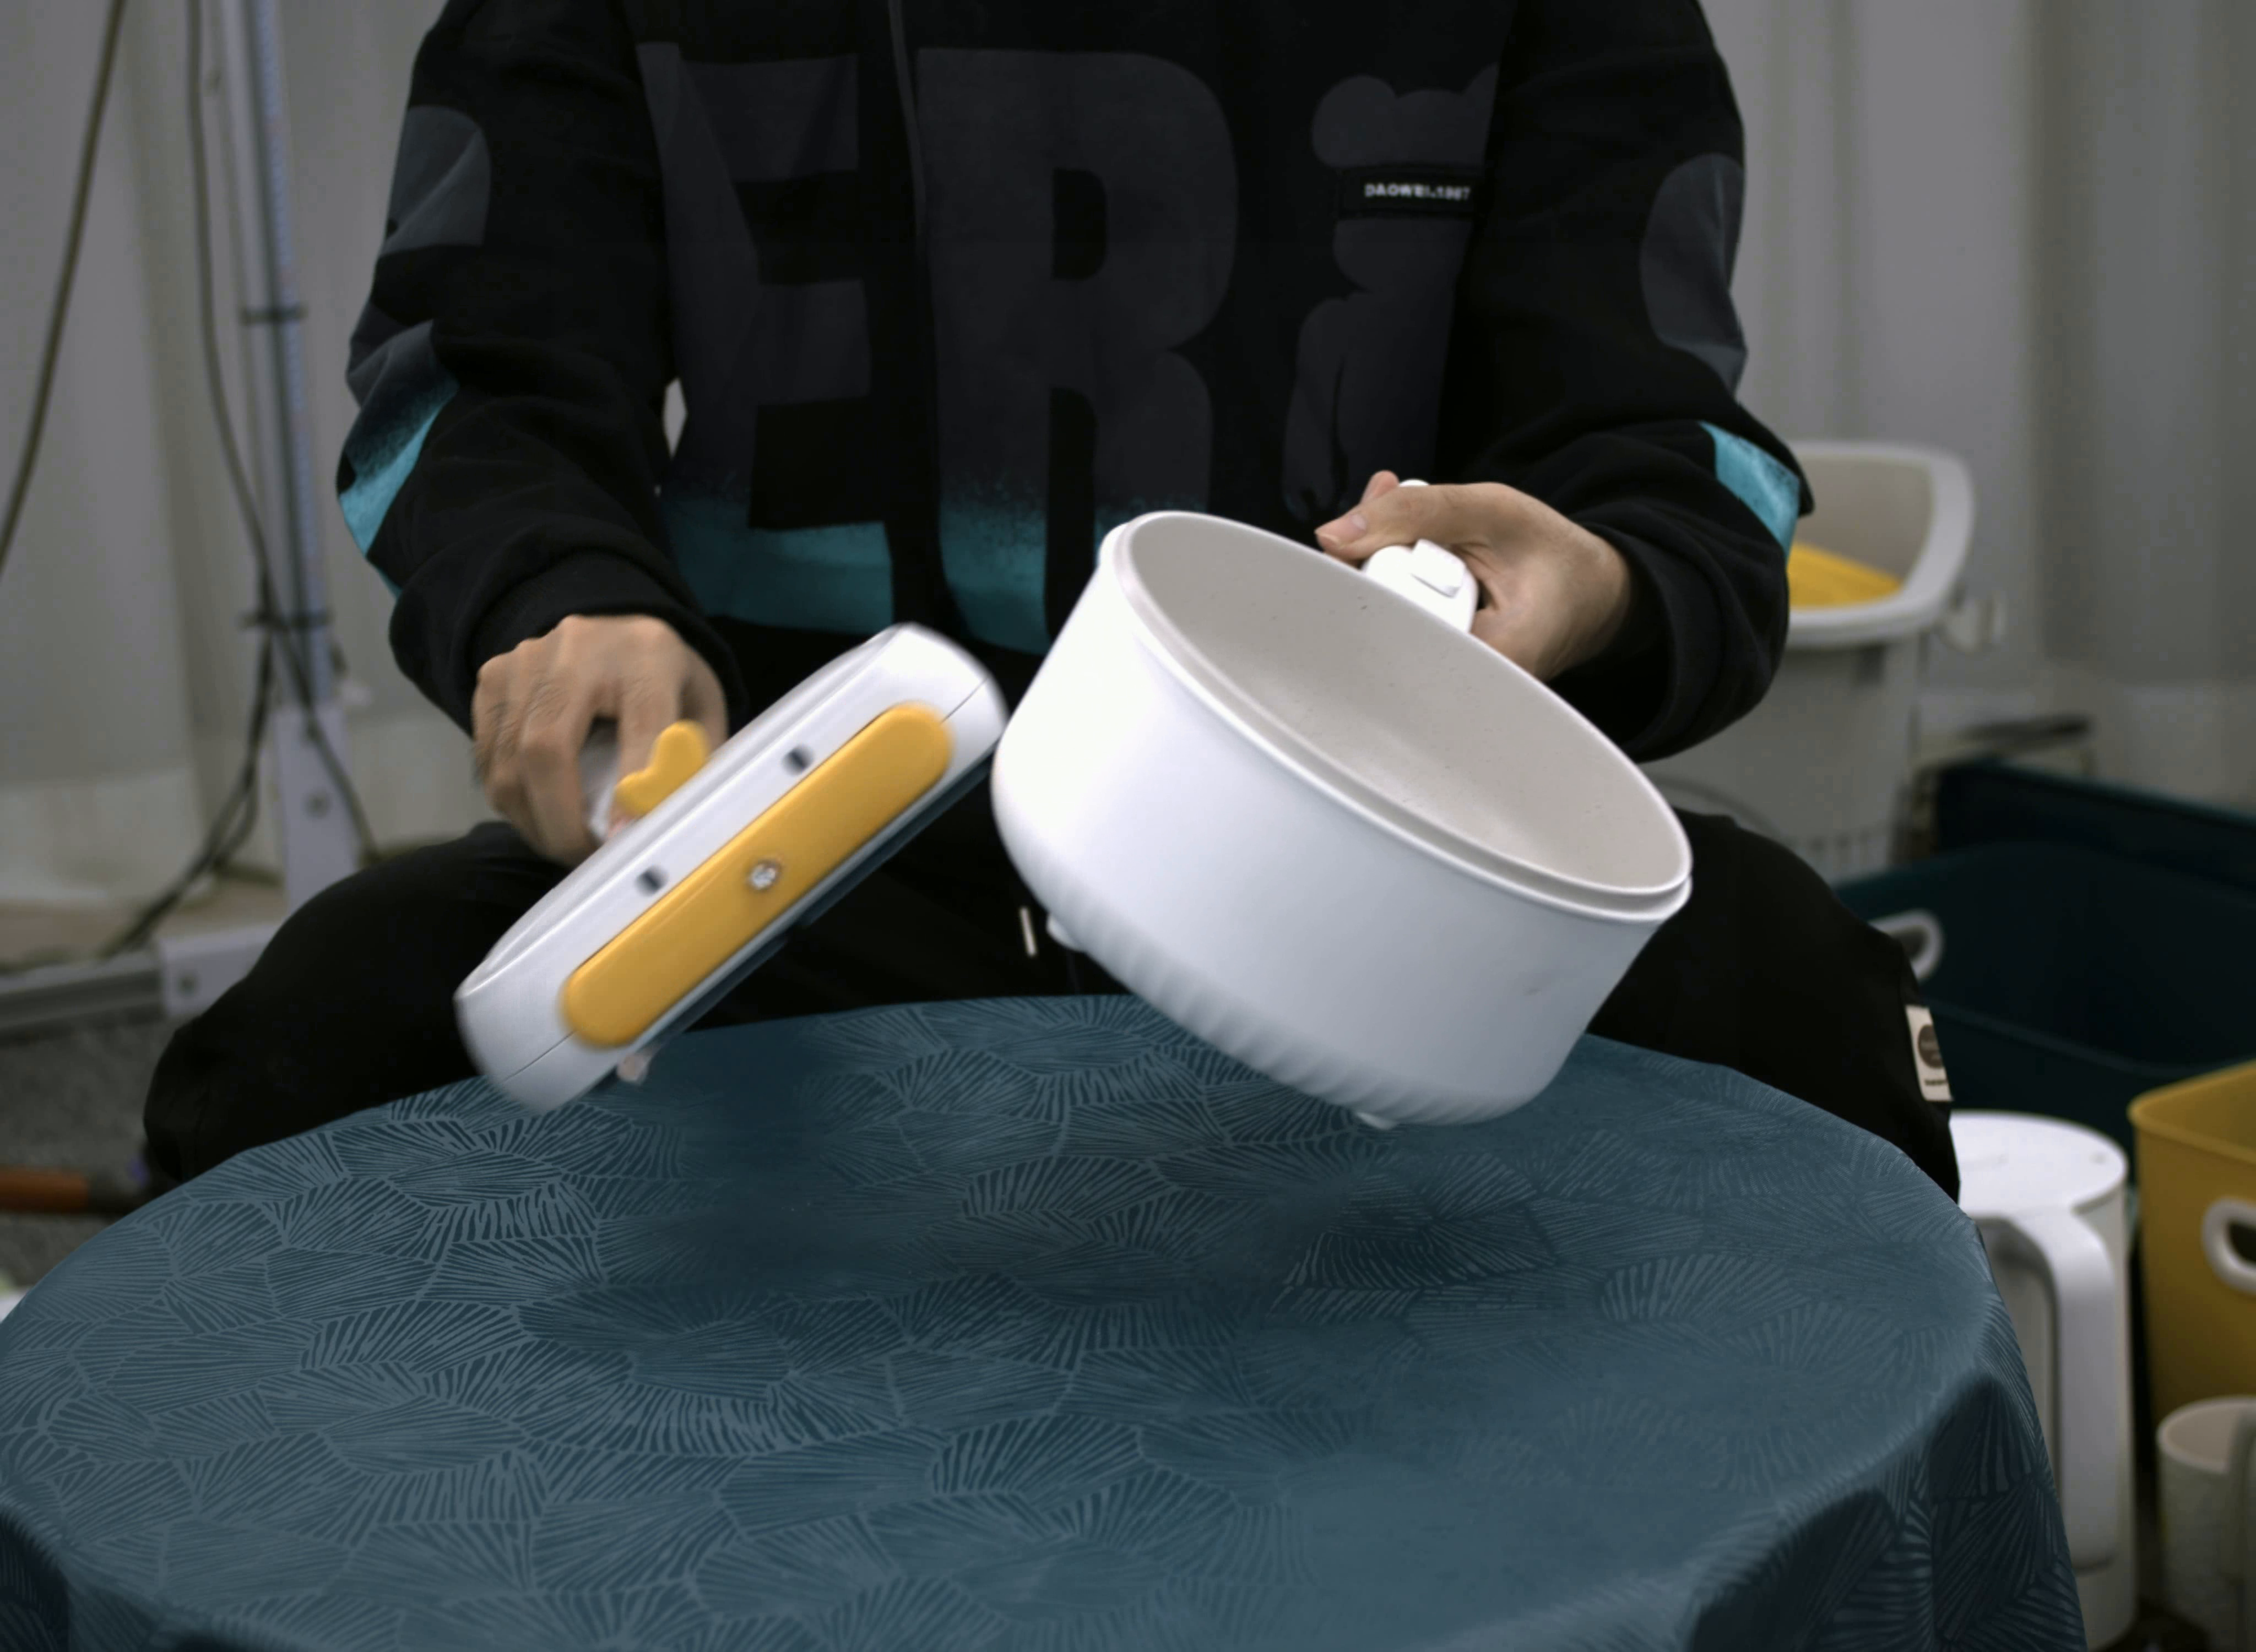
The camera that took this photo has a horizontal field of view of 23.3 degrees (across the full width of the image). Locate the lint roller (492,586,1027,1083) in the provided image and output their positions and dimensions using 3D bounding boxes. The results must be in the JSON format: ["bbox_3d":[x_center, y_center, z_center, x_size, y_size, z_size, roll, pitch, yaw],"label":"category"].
[{"bbox_3d":[-0.139,-0.006,1.710,0.193,0.073,0.193,-46,19,-15],"label":"lint roller"}]

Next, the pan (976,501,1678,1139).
[{"bbox_3d":[0.061,-0.015,1.694,0.200,0.101,0.357,27,17,-3],"label":"pan"}]
